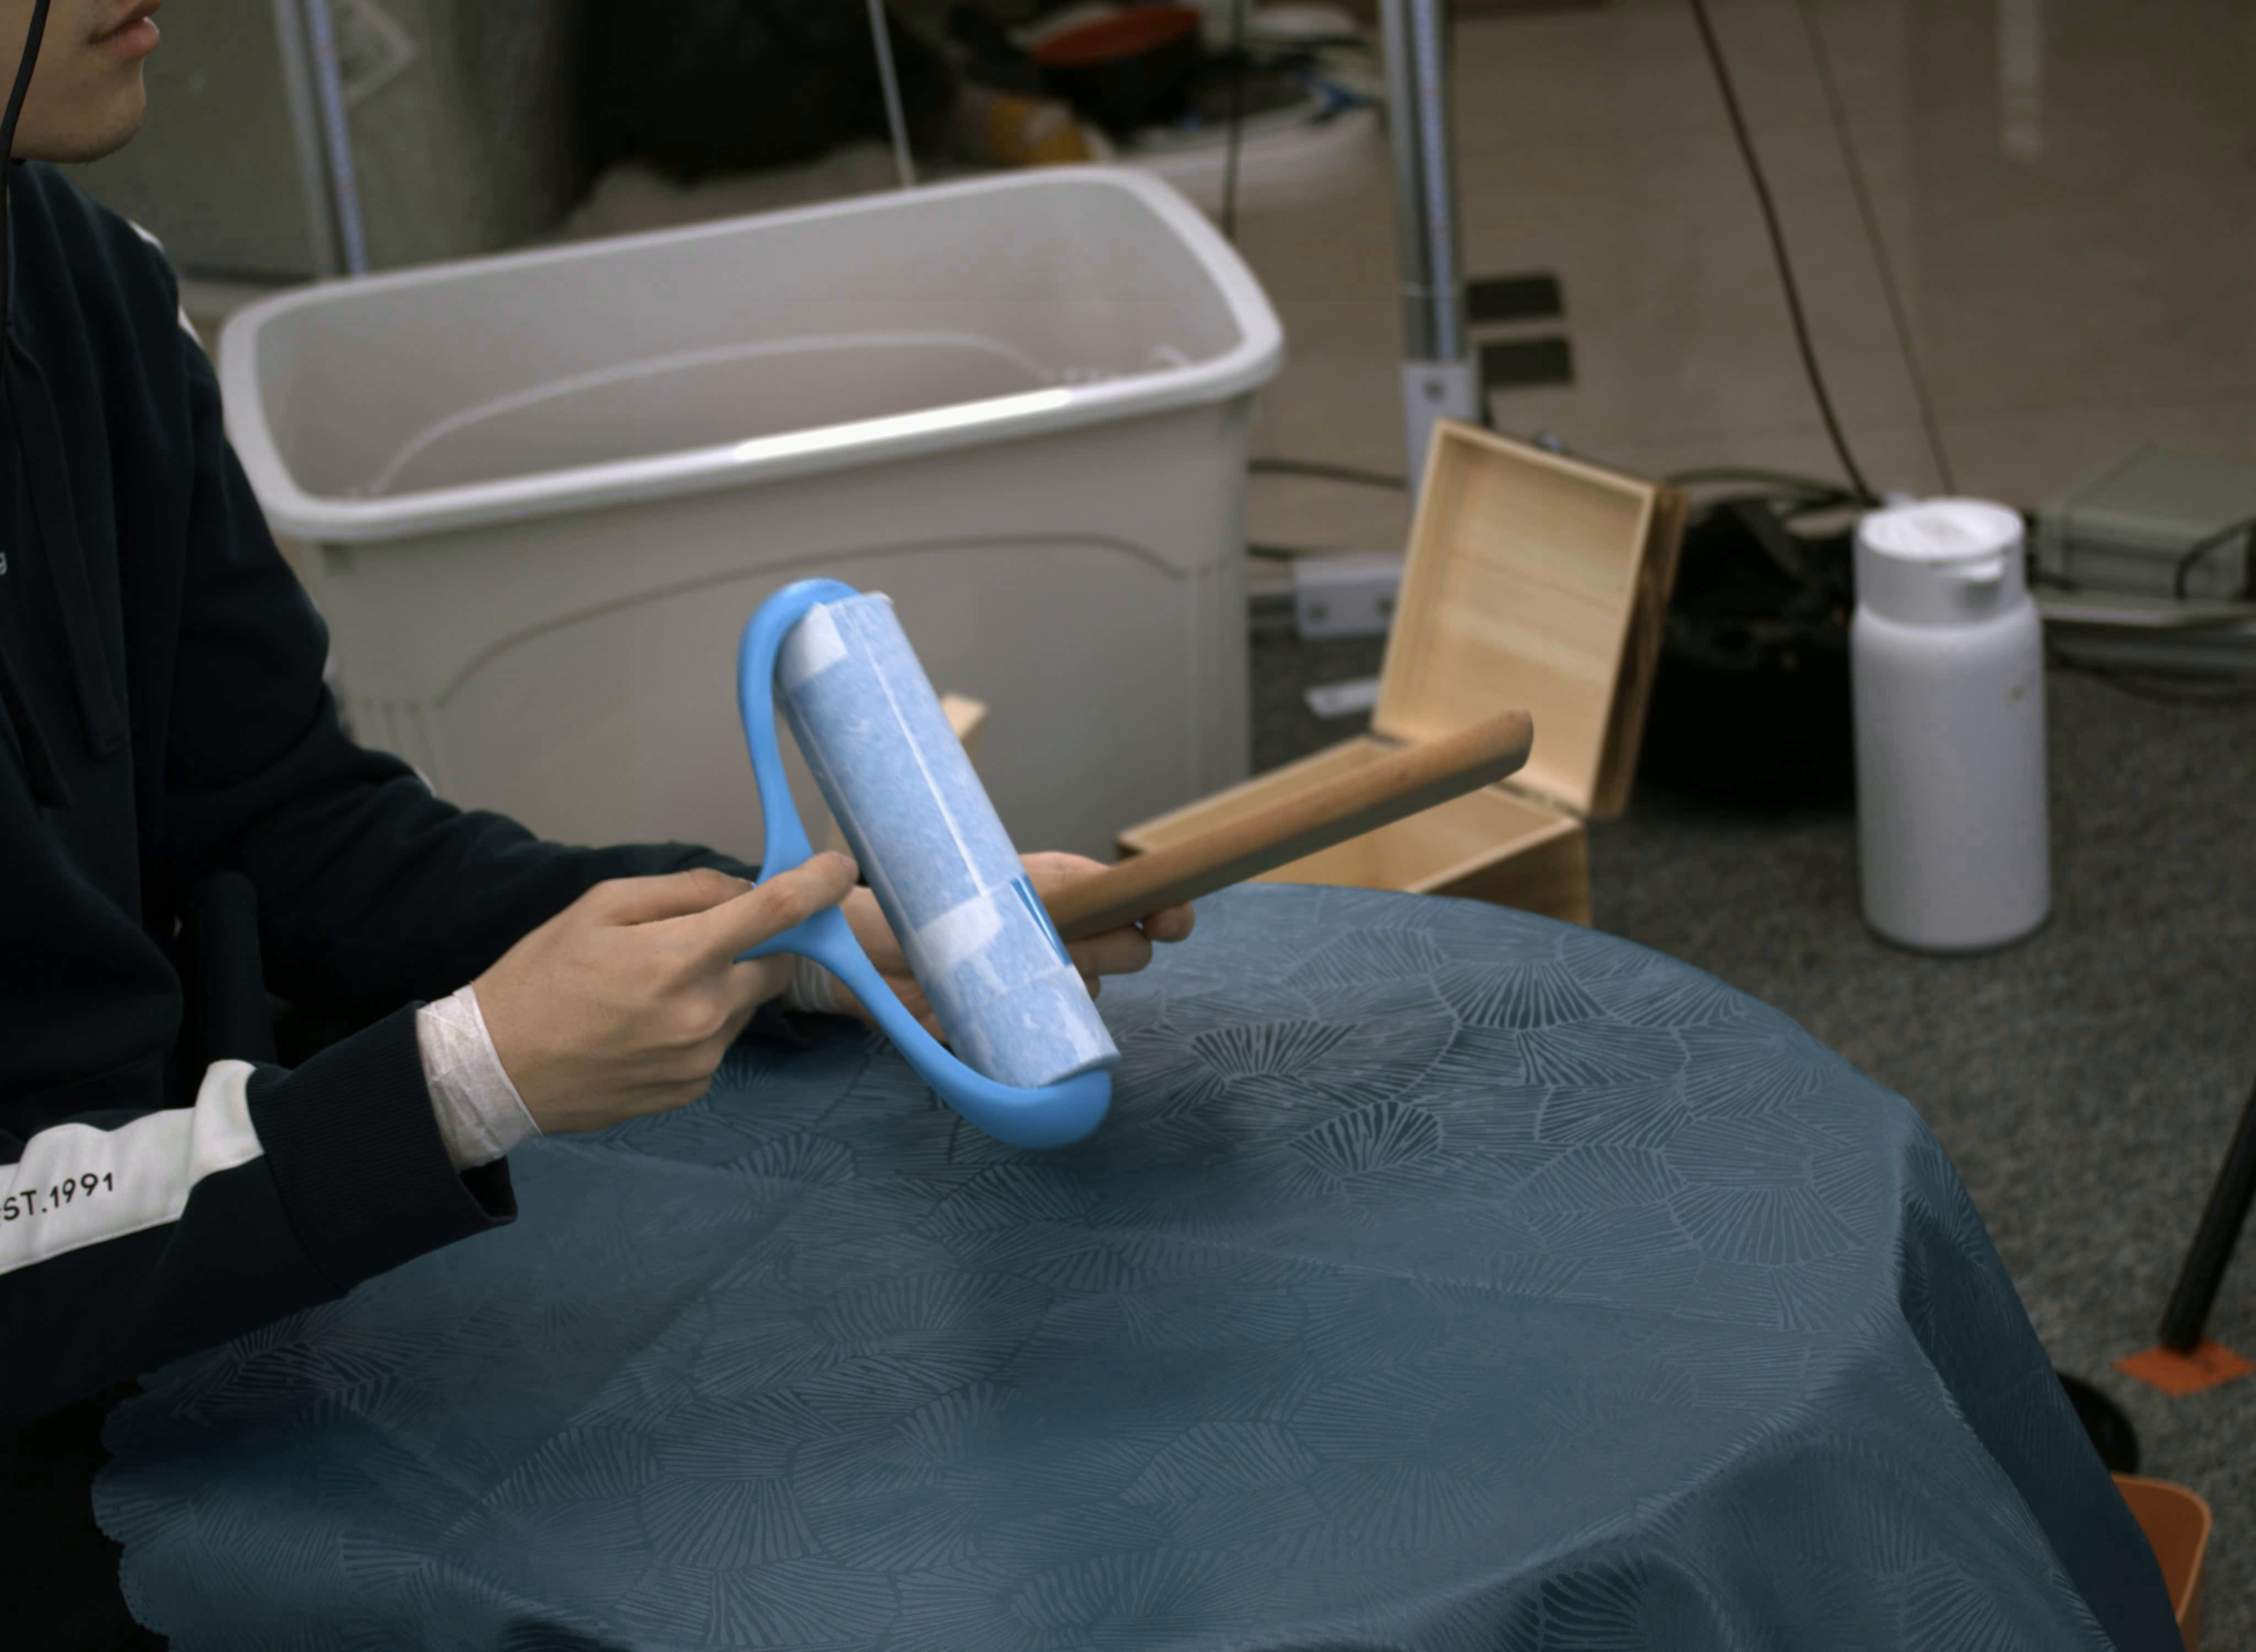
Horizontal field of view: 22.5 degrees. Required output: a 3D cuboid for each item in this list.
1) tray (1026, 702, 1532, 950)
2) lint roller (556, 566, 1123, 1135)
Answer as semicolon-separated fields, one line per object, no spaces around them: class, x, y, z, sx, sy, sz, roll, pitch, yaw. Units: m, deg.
tray;0.039;0.008;2.187;0.250;0.023;0.131;-22;-9;3
lint roller;-0.121;0.035;2.031;0.179;0.228;0.068;-29;-6;-12
